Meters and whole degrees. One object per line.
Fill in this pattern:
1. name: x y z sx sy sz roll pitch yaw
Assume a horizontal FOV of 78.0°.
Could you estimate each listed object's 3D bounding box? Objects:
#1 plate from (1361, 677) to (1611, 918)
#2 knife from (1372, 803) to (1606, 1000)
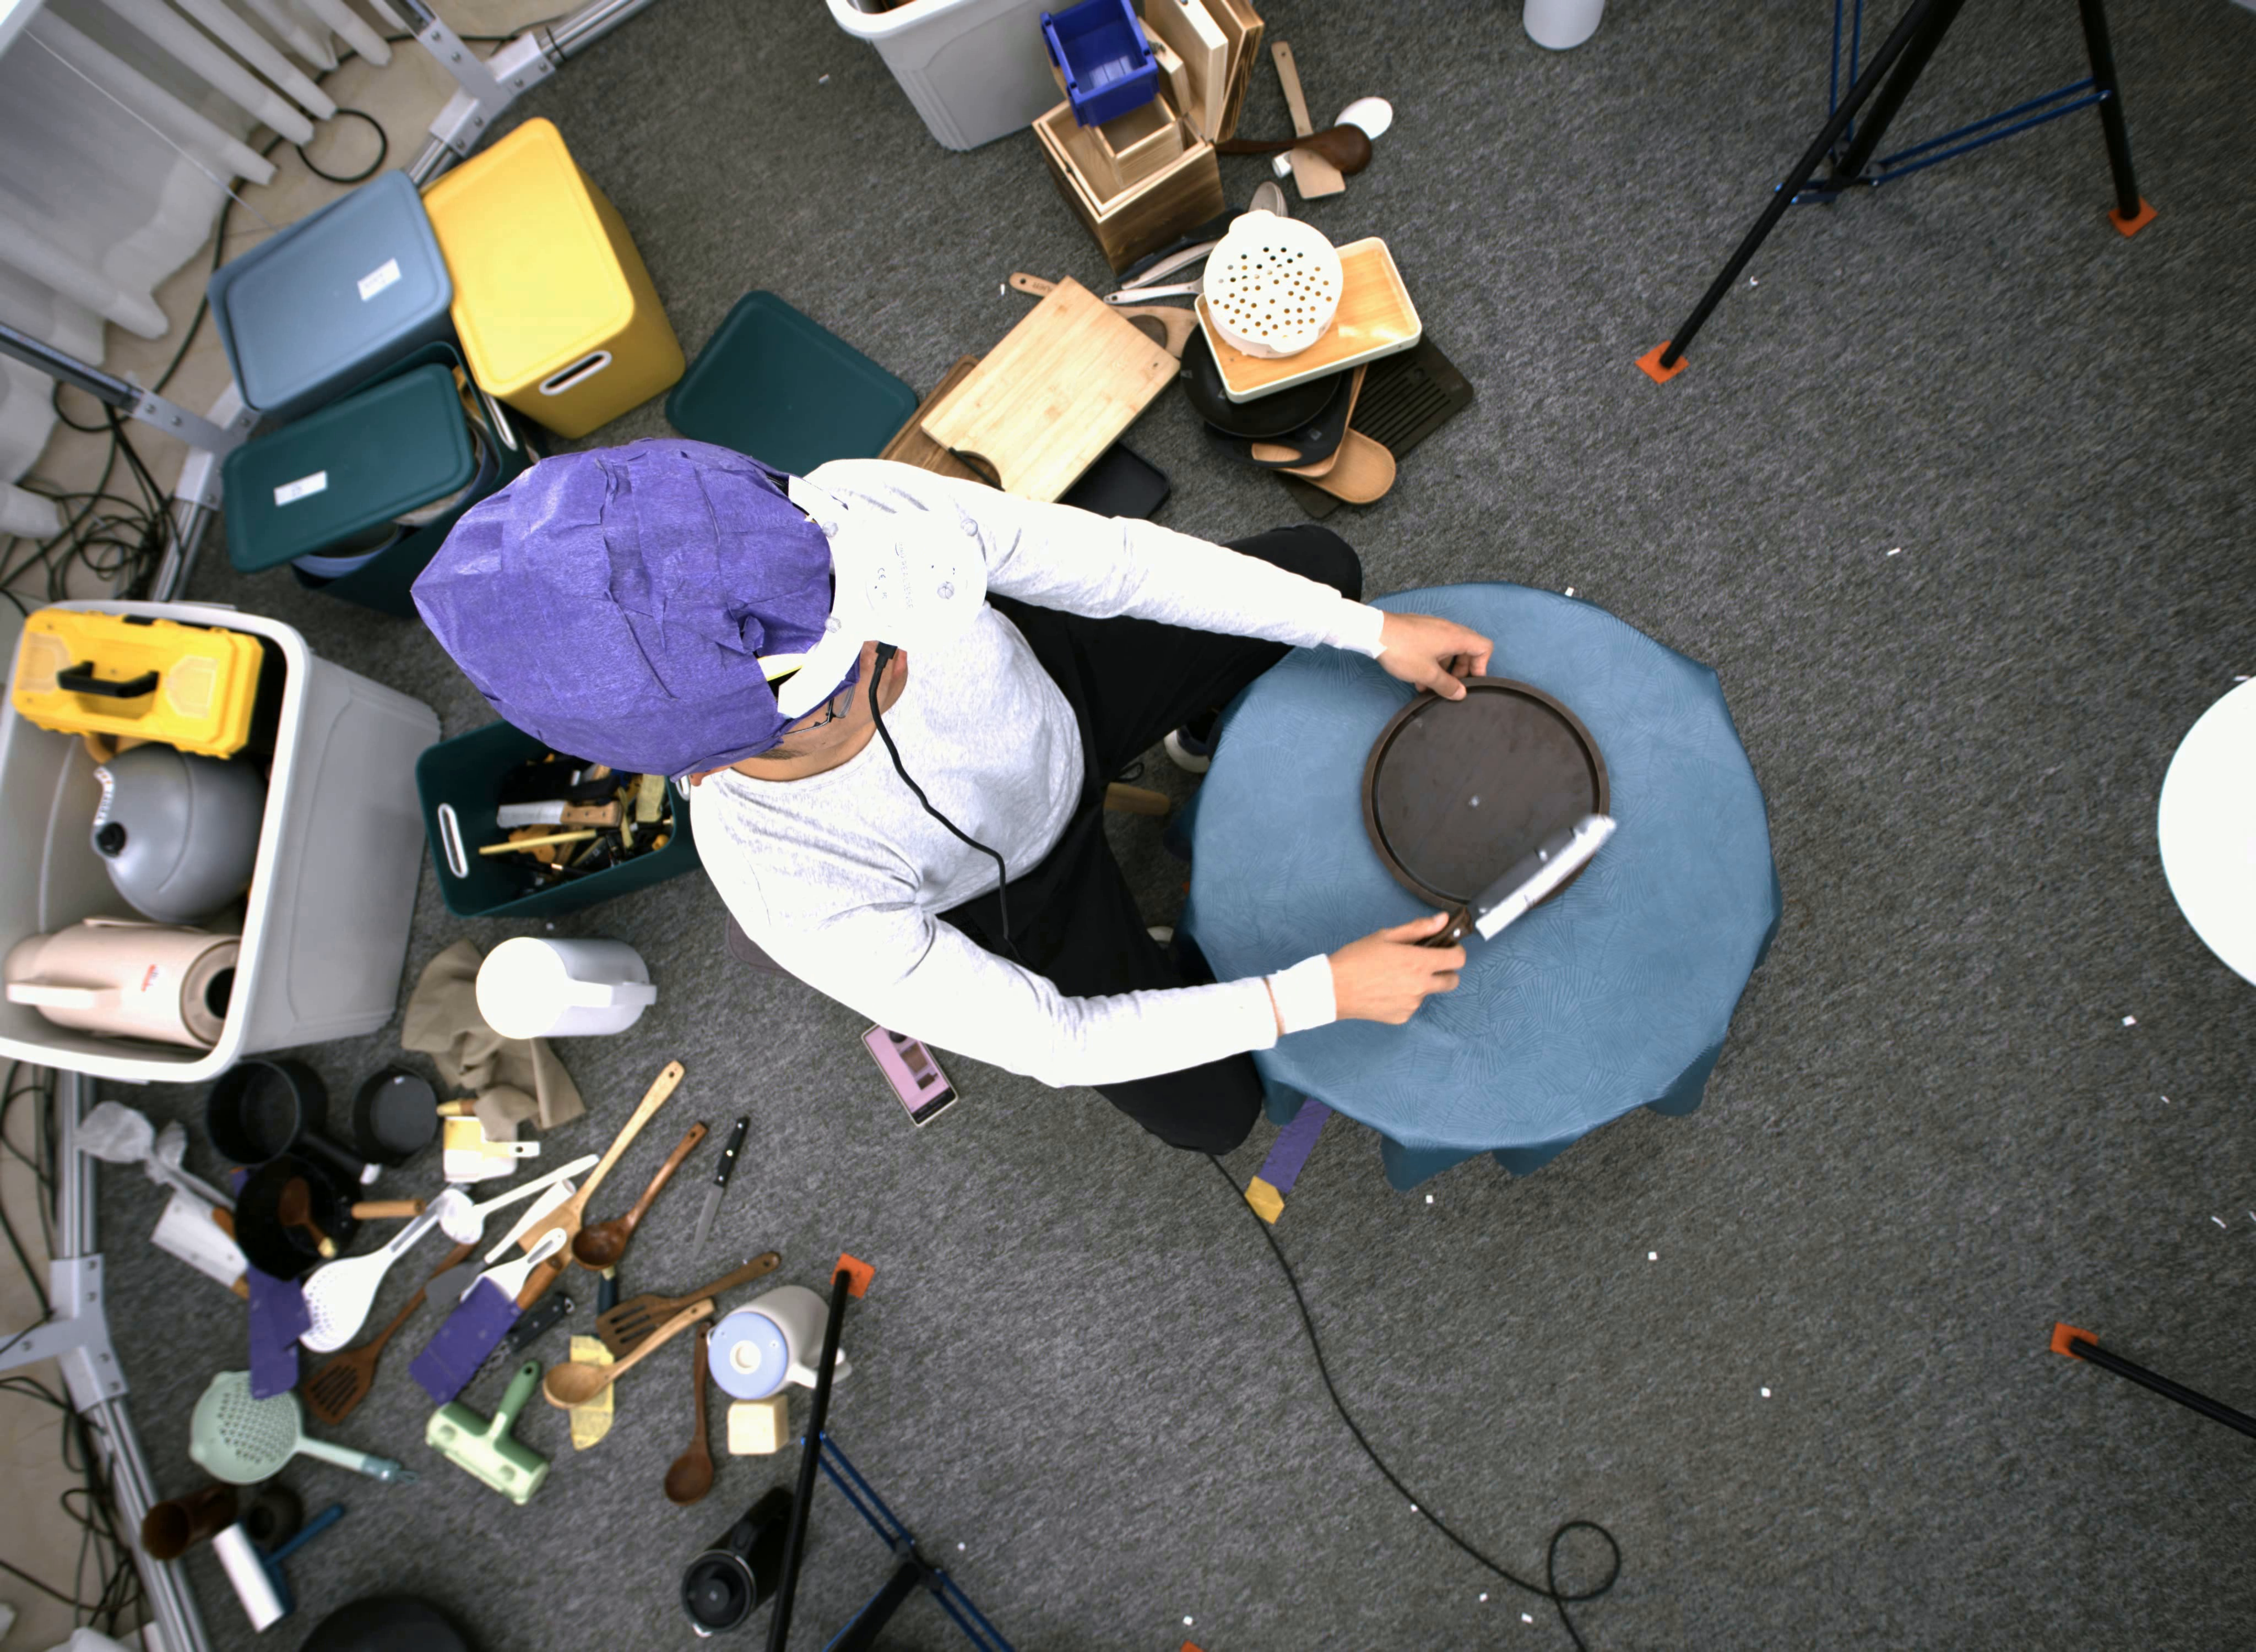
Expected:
1. plate: 0.372 -0.032 1.434 0.256 0.029 0.254 -1 88 12
2. knife: 0.353 0.071 1.341 0.291 0.019 0.051 -41 113 8
